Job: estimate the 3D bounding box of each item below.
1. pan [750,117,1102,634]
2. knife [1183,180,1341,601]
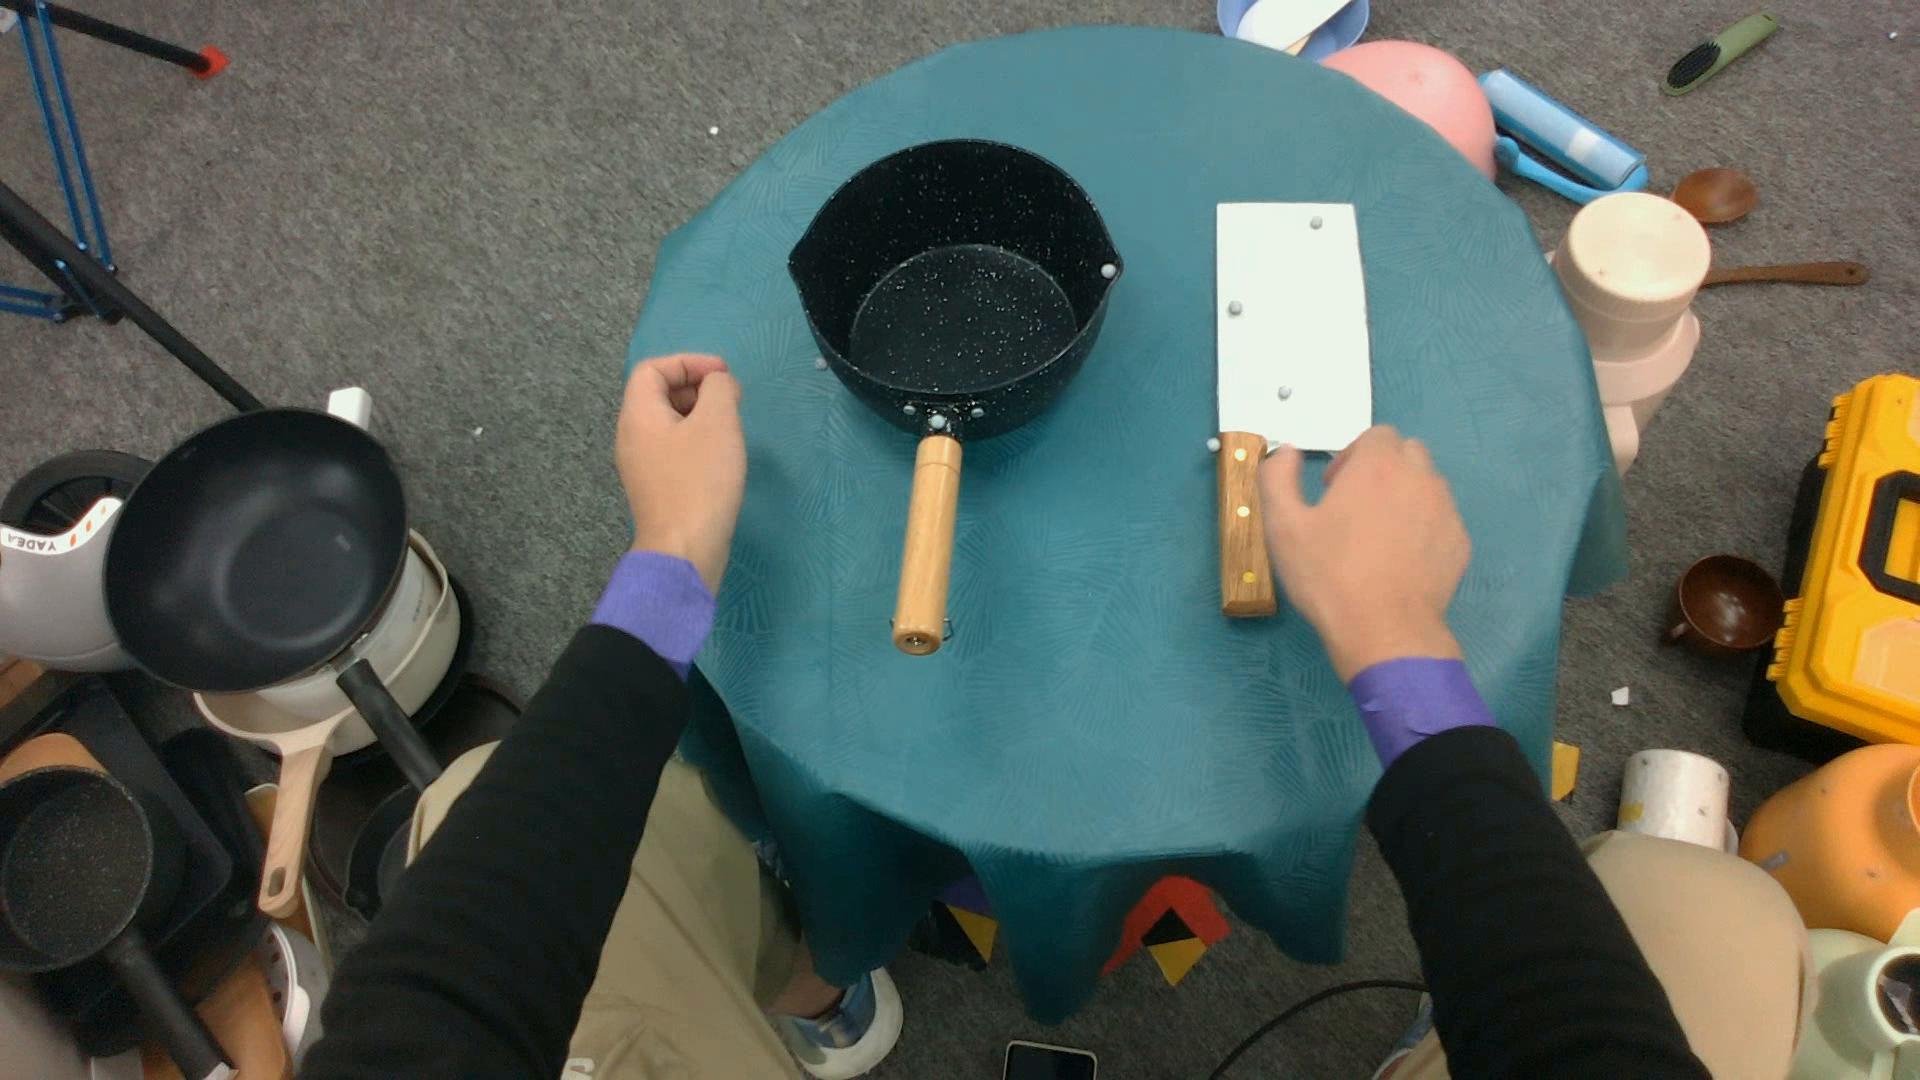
[{"bbox_3d":[-0.021,-0.091,0.799,0.207,0.108,0.344,0,64,4],"label":"pan"},{"bbox_3d":[0.184,-0.102,0.841,0.093,0.021,0.307,2,62,3],"label":"knife"}]
